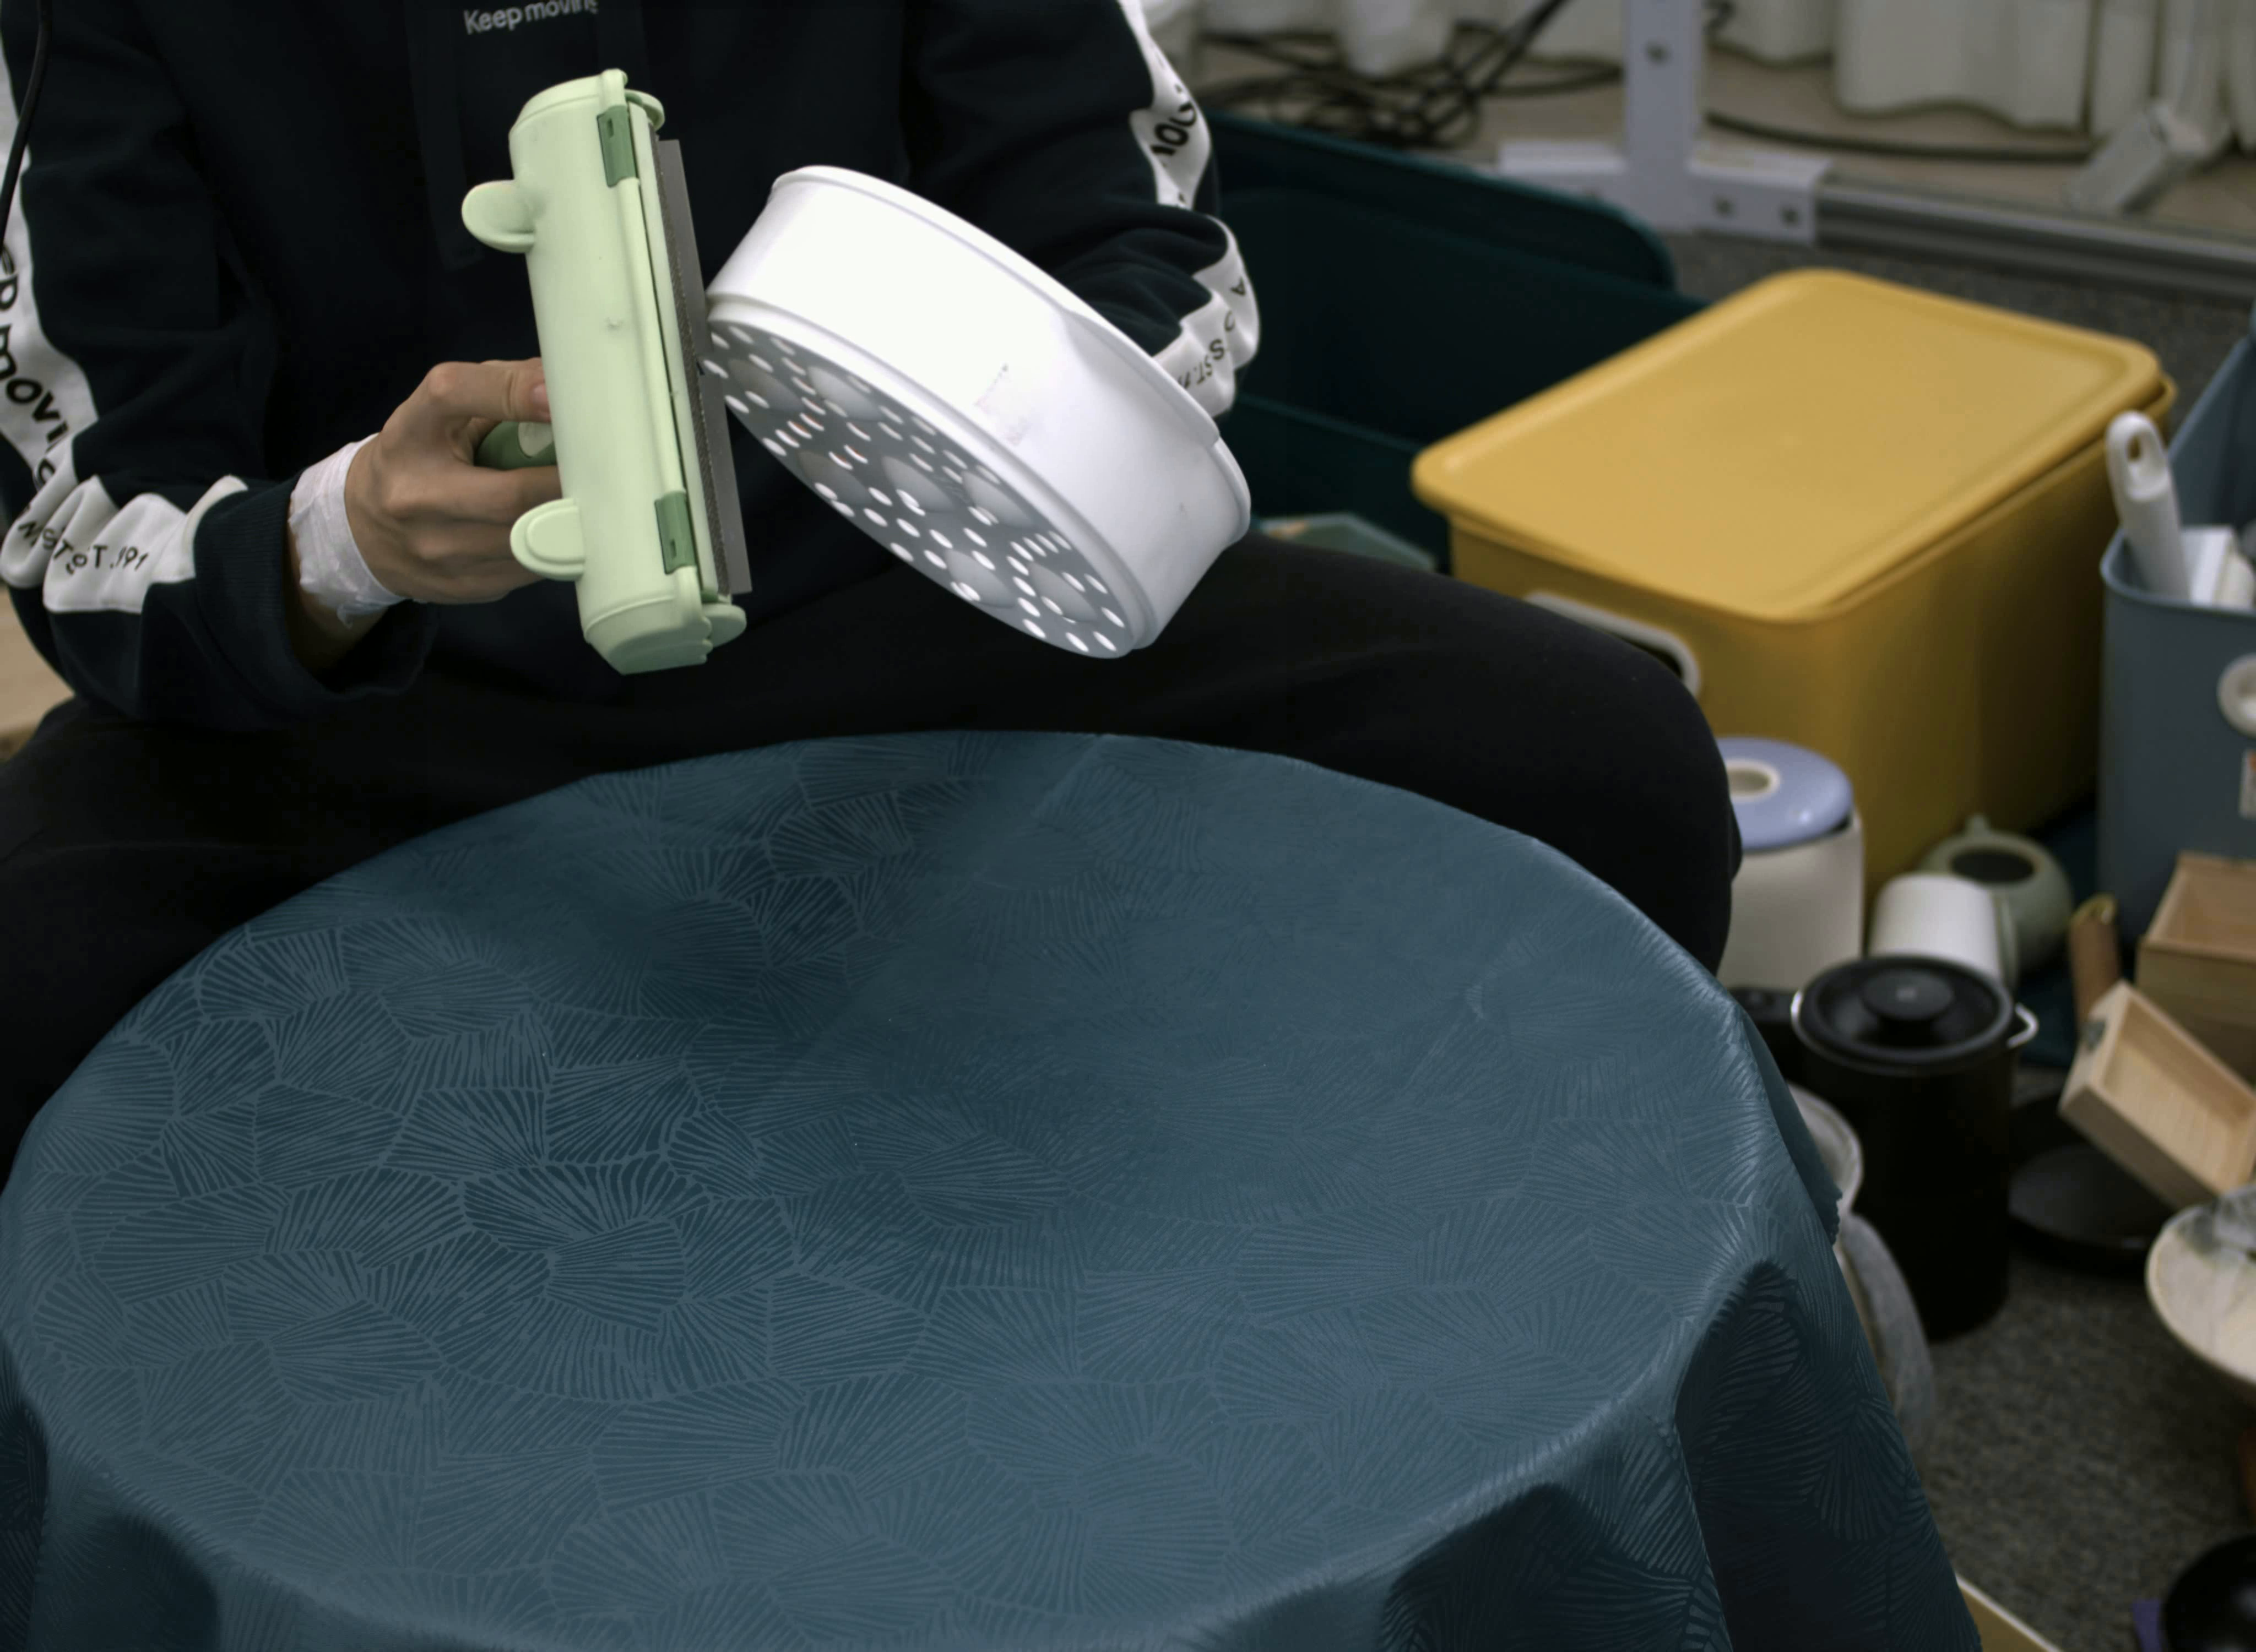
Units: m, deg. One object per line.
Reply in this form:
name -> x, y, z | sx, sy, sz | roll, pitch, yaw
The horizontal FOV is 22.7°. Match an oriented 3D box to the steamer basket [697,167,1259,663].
steamer basket -> -0.053, -0.135, 1.915 | 0.070, 0.200, 0.230 | -54, 27, -11

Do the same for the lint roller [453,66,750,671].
lint roller -> -0.204, -0.135, 1.915 | 0.082, 0.201, 0.180 | 1, -18, -38
